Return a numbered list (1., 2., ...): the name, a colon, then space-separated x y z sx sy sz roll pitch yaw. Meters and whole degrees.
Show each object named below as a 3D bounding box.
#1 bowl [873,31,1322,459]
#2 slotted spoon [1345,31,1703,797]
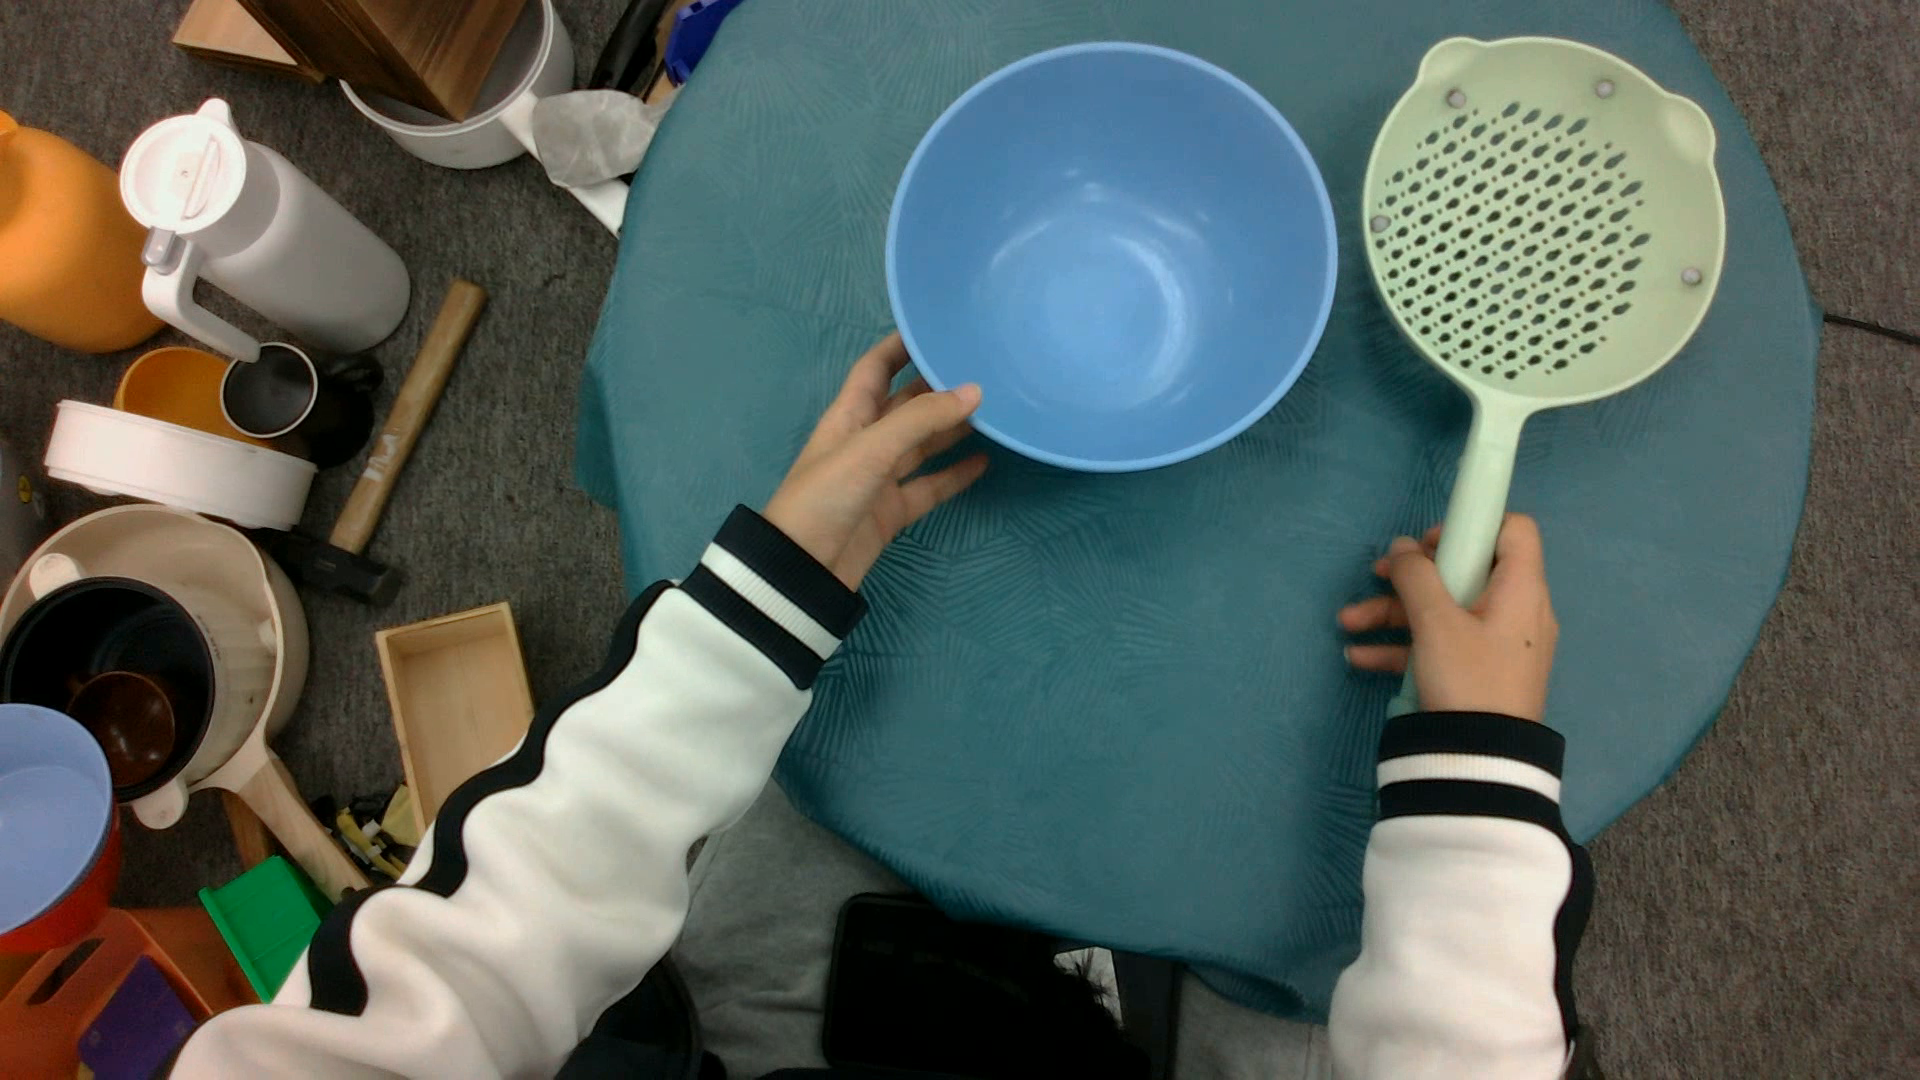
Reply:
1. bowl: 0.061 -0.124 0.645 0.196 0.095 0.197 0 80 1
2. slotted spoon: 0.236 -0.057 0.640 0.169 0.075 0.359 15 78 -2
